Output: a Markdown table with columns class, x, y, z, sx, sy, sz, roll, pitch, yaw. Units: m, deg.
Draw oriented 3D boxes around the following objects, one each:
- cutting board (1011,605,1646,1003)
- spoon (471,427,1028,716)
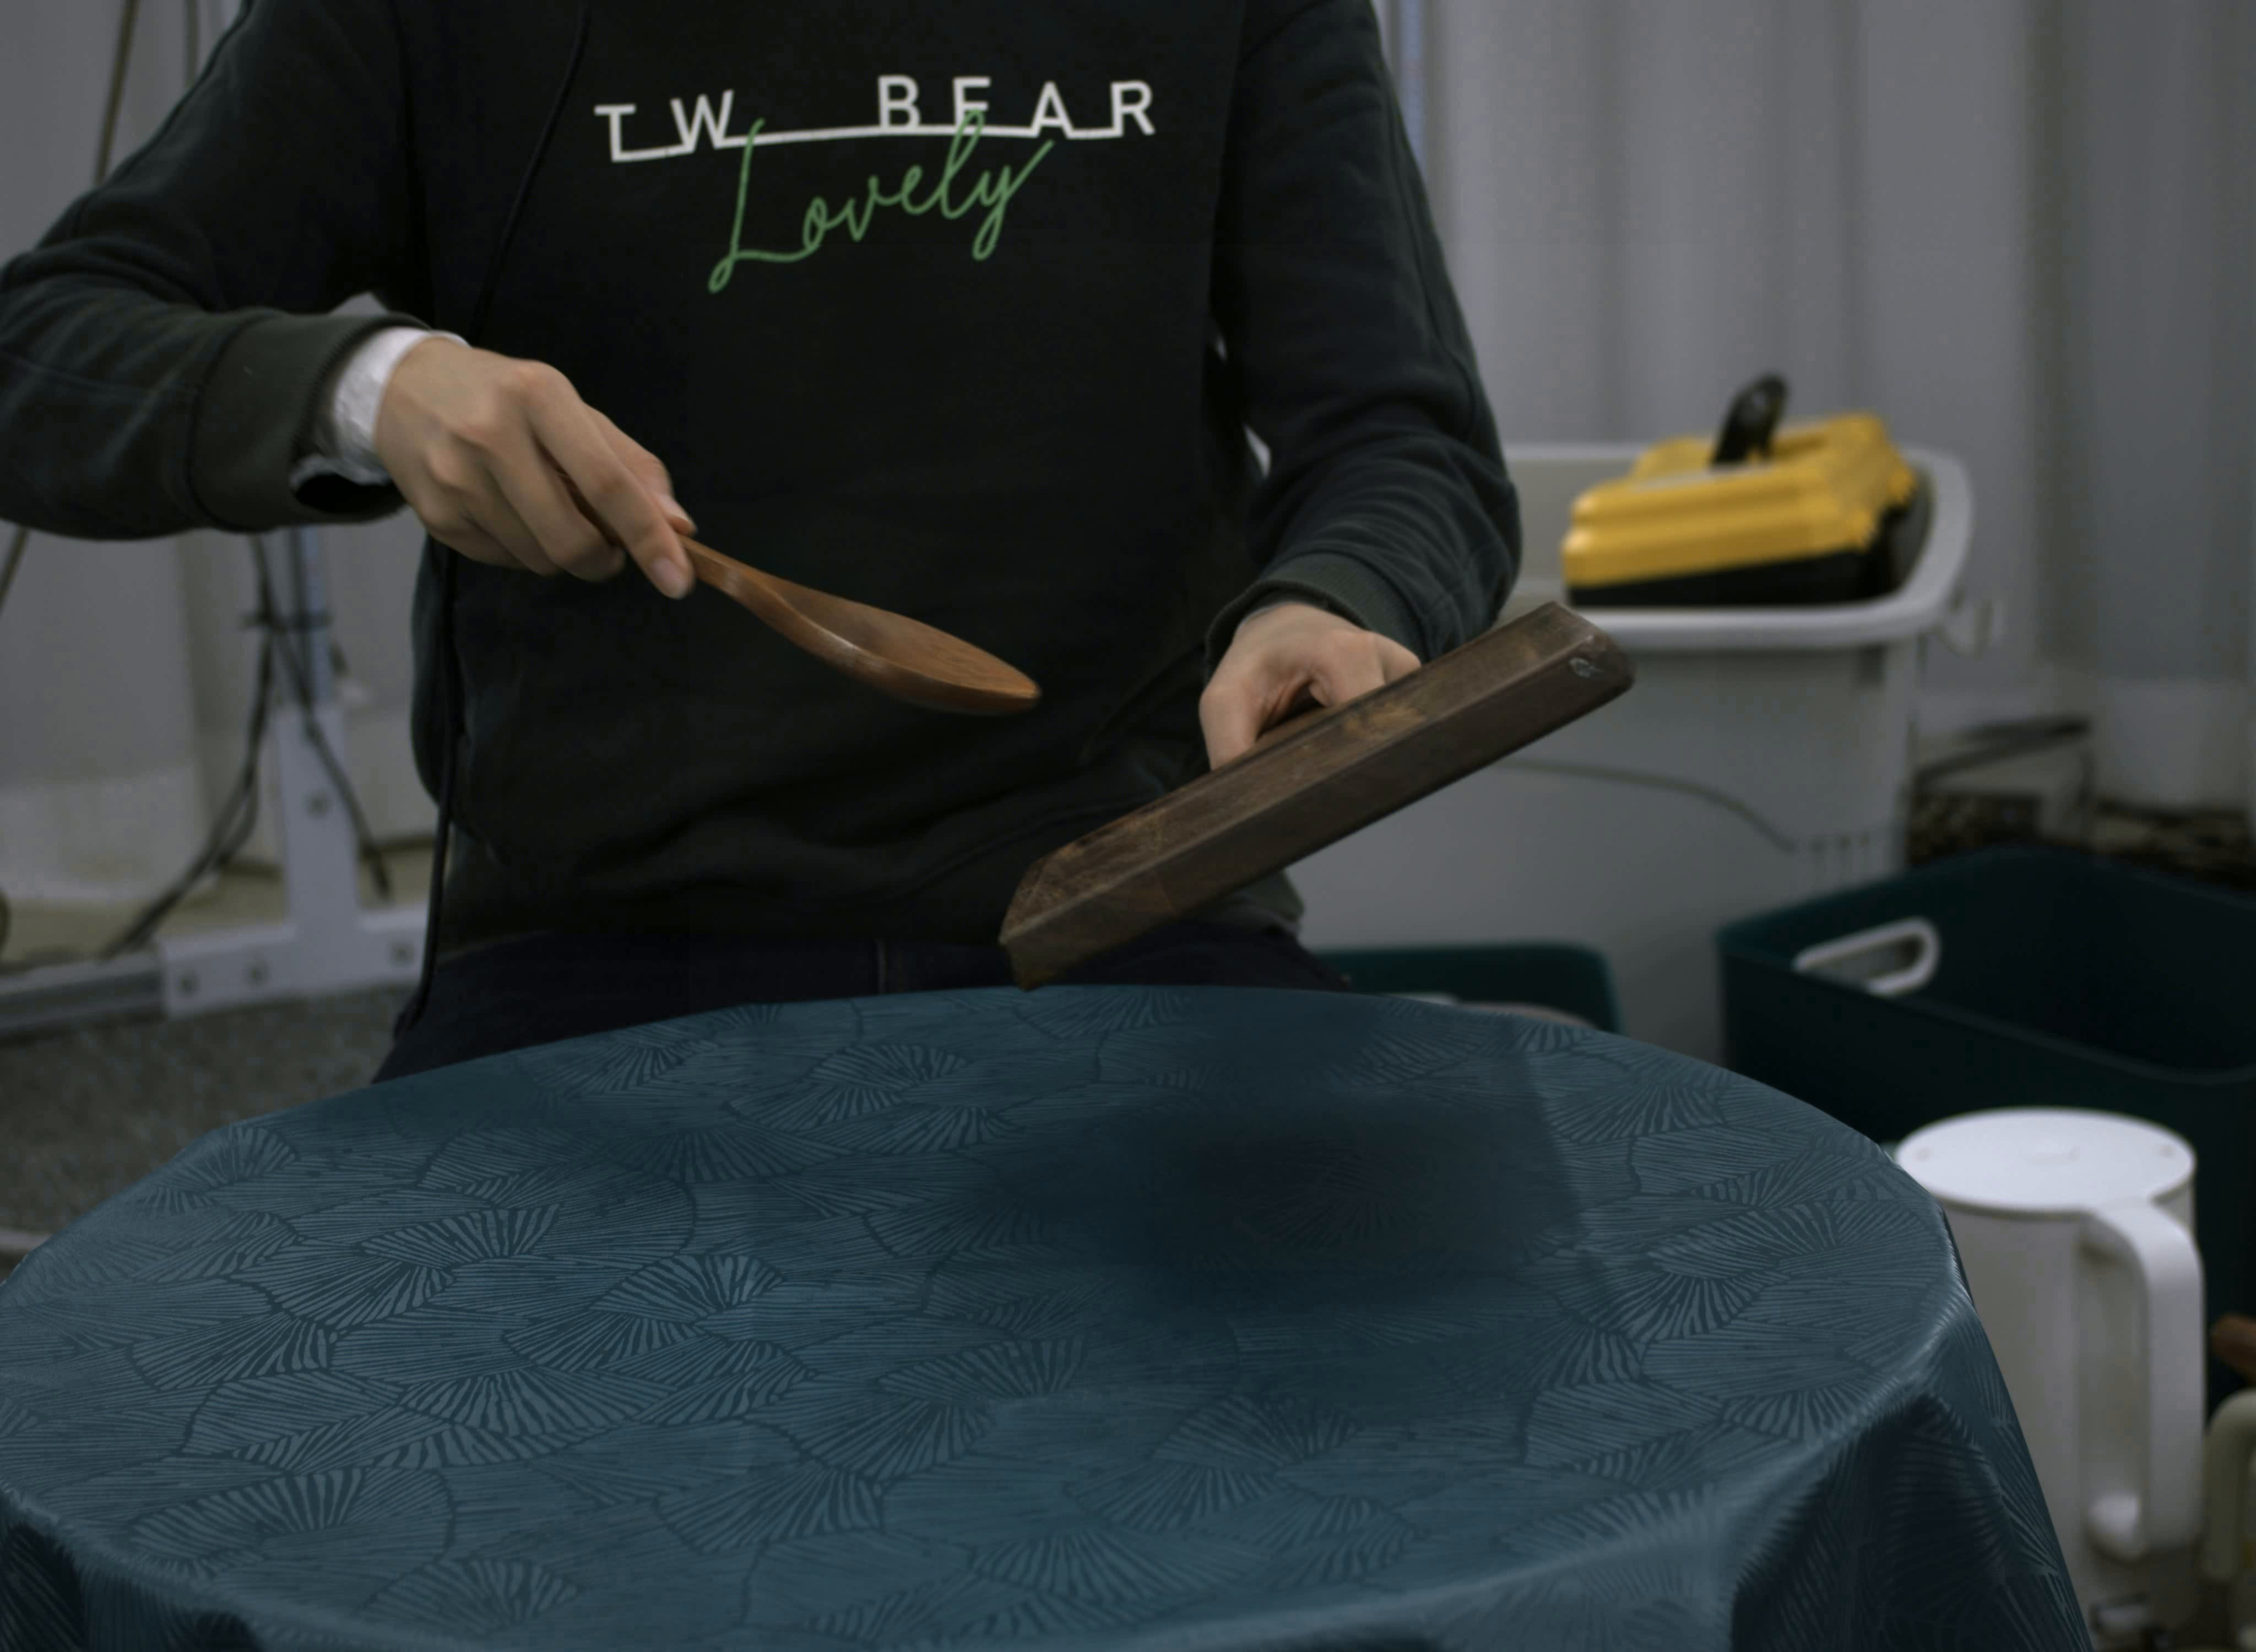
| class | x | y | z | sx | sy | sz | roll | pitch | yaw |
| --- | --- | --- | --- | --- | --- | --- | --- | --- | --- |
| cutting board | 0.058 | -0.014 | 1.715 | 0.200 | 0.023 | 0.352 | -28 | 3 | 3 |
| spoon | -0.126 | -0.080 | 1.775 | 0.217 | 0.017 | 0.075 | 28 | 18 | 23 |
